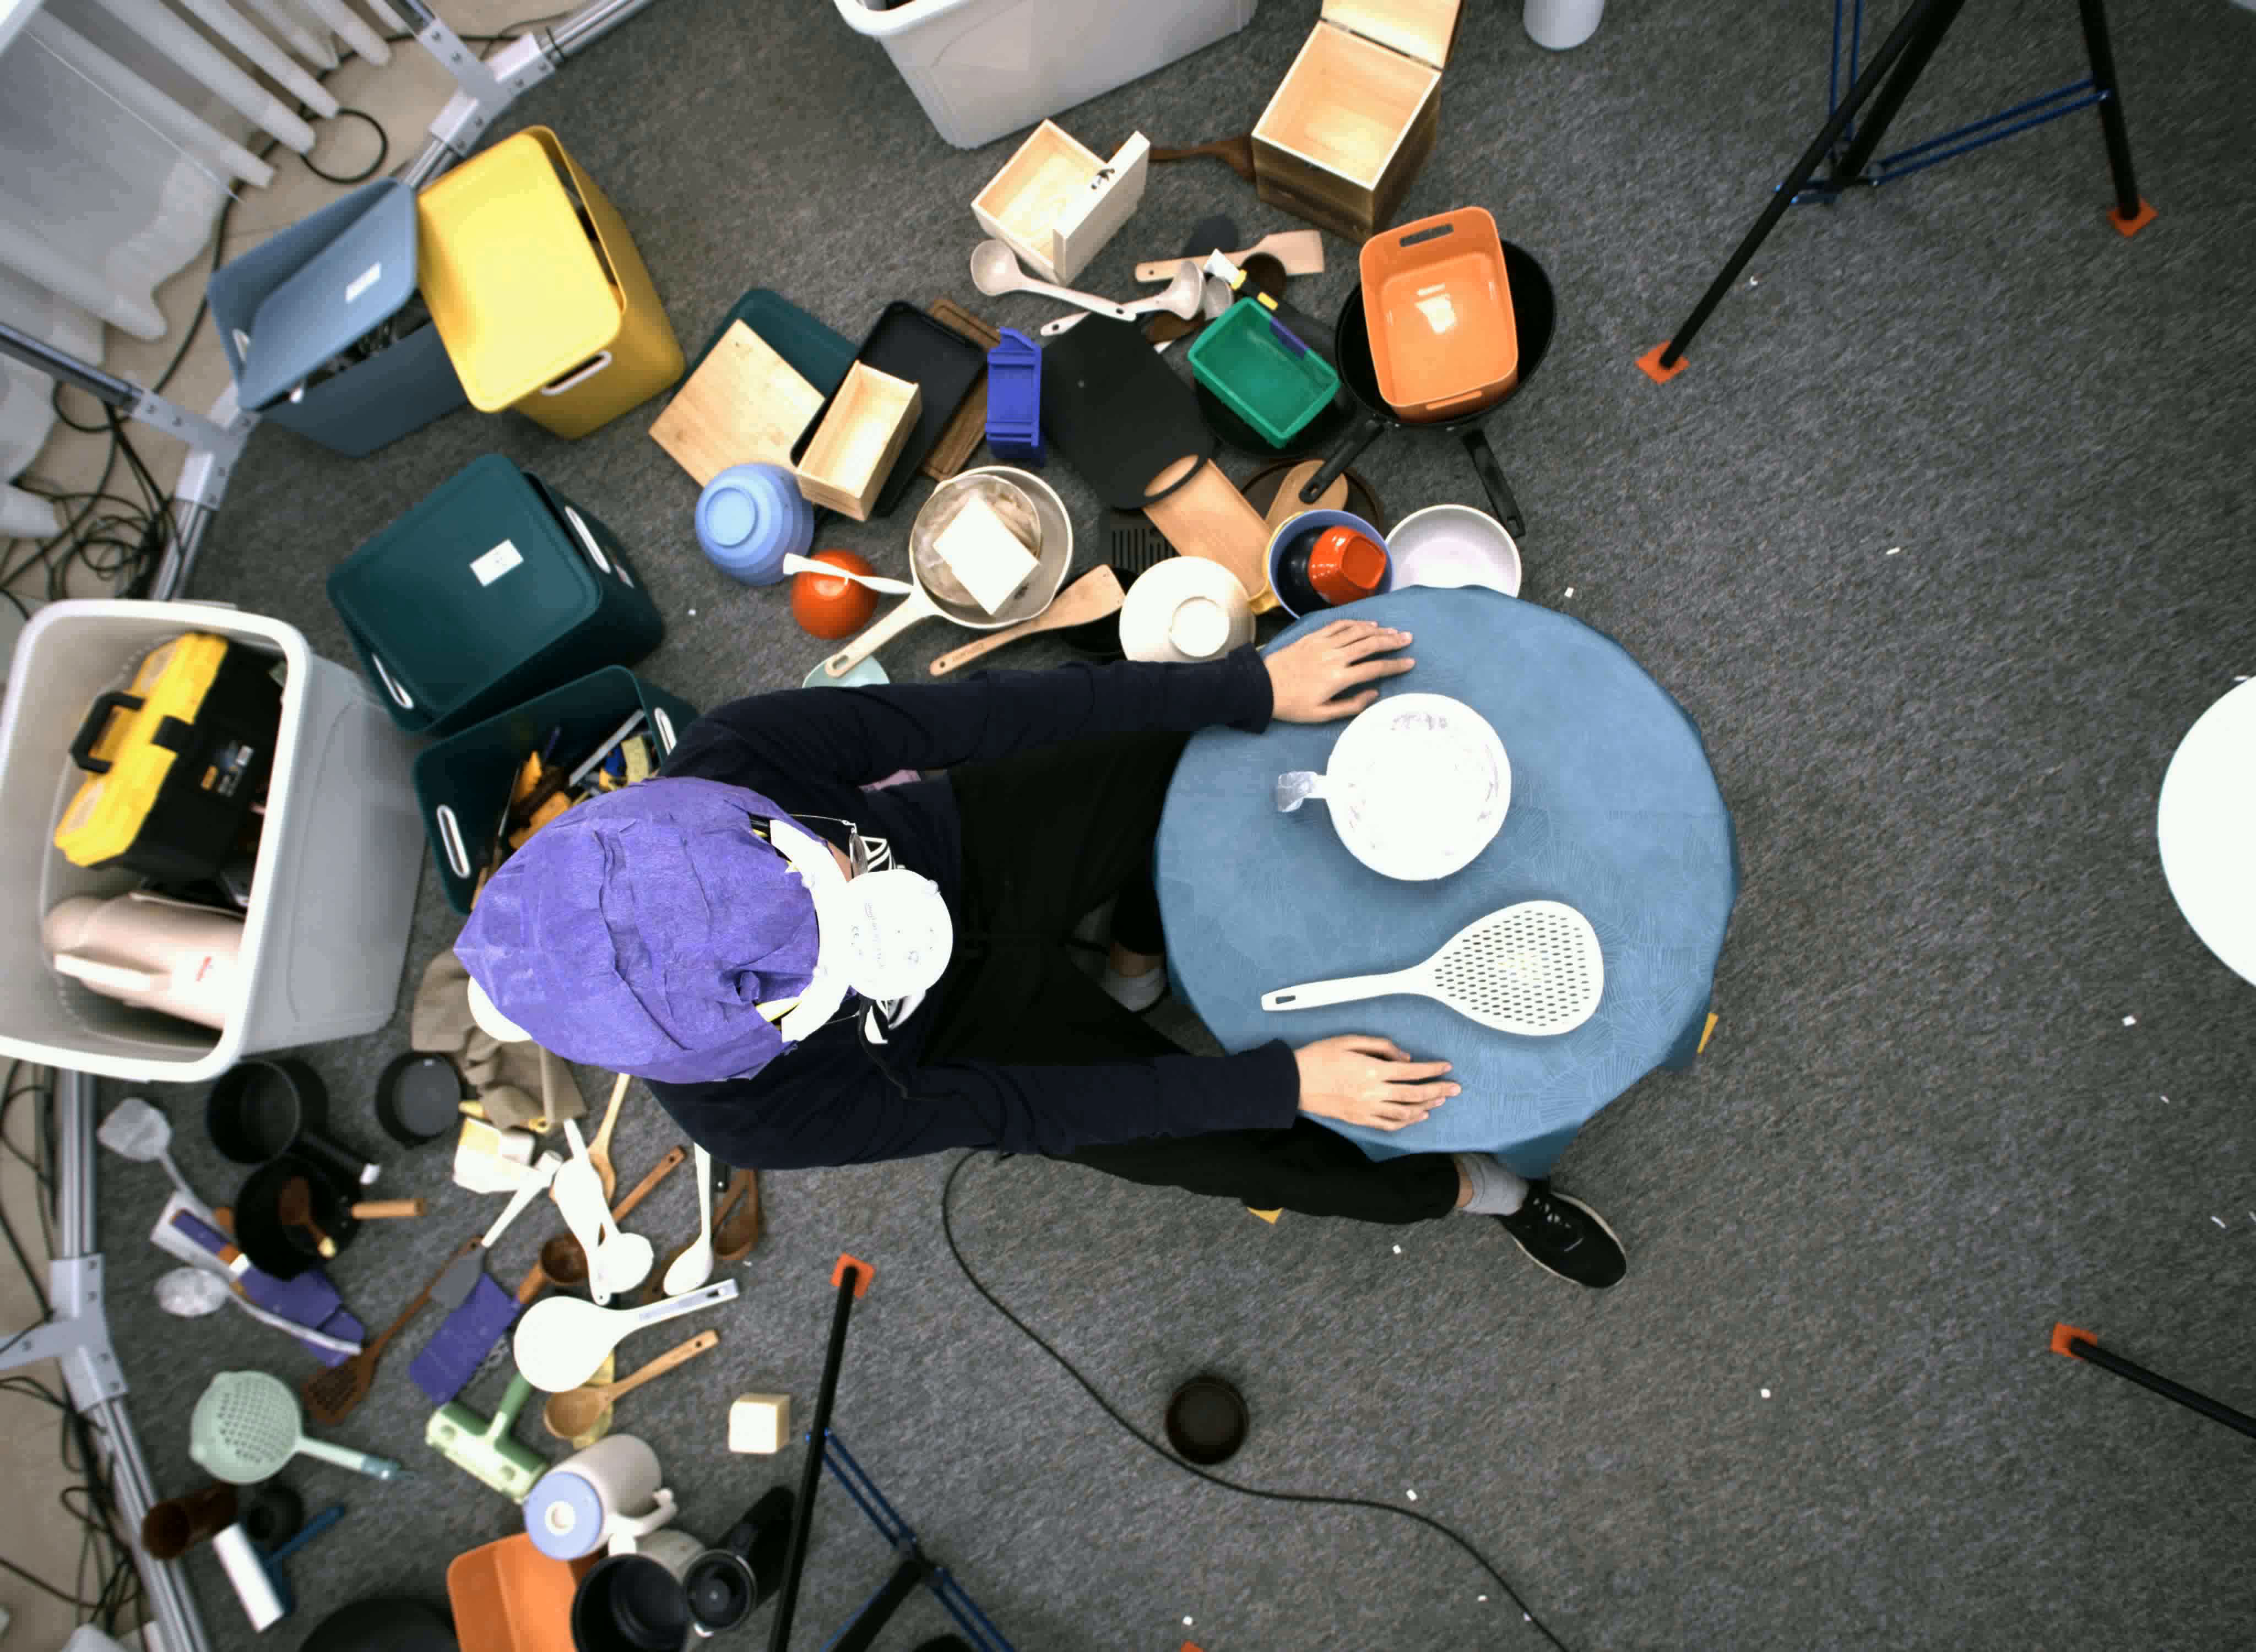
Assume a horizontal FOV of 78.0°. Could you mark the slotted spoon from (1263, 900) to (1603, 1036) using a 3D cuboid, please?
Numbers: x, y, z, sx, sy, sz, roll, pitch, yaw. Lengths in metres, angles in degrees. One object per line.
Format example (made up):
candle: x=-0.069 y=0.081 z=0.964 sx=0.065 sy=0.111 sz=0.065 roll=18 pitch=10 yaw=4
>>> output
slotted spoon: x=0.309 y=0.160 z=1.426 sx=0.349 sy=0.050 sz=0.136 roll=-9 pitch=86 yaw=9

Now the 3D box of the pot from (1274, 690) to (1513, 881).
pot: x=0.264 y=-0.037 z=1.396 sx=0.234 sy=0.137 sz=0.177 roll=-1 pitch=83 yaw=9
